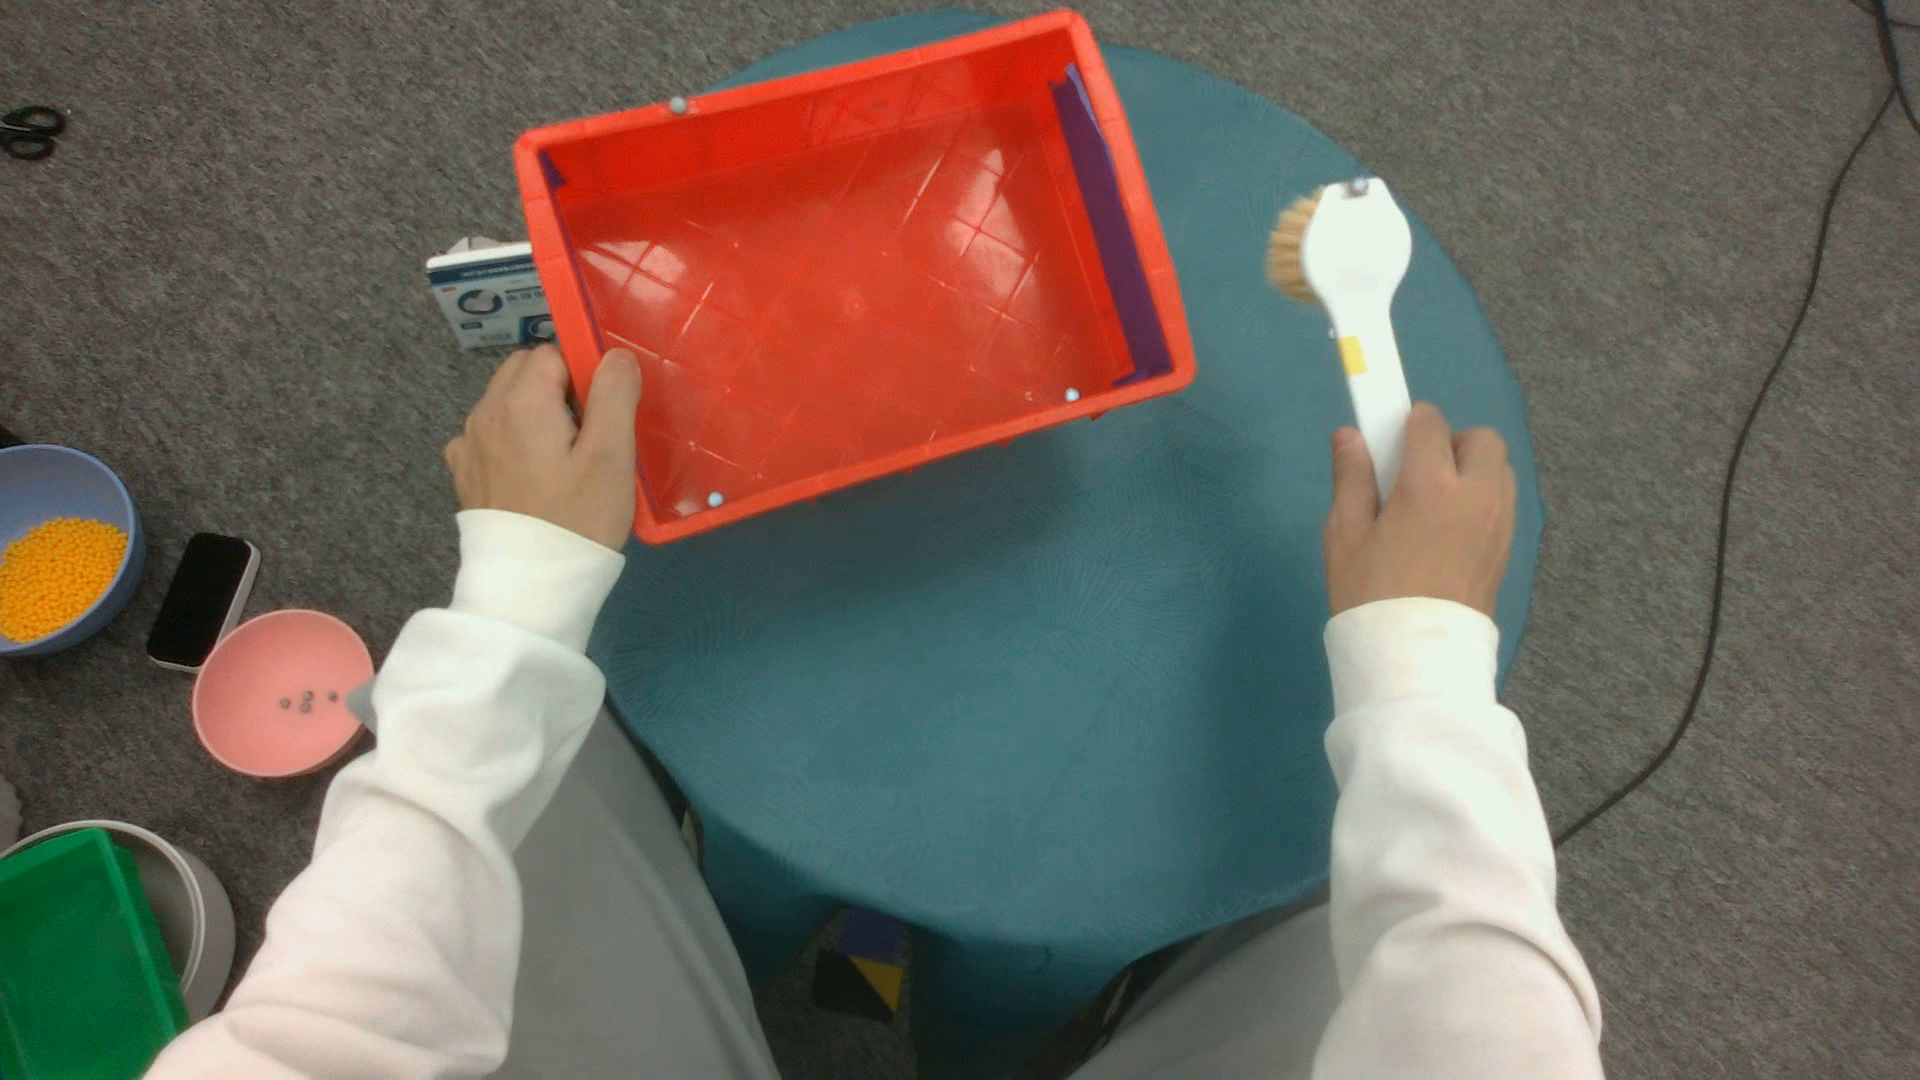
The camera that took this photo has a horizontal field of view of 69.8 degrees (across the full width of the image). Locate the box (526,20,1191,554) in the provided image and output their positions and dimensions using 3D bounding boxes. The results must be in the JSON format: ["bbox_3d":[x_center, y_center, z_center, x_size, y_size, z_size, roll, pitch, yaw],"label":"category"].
[{"bbox_3d":[-0.051,-0.130,0.735,0.304,0.096,0.206,-19,88,-10],"label":"box"}]

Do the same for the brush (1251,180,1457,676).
[{"bbox_3d":[0.214,-0.060,0.732,0.068,0.056,0.266,-13,91,-2],"label":"brush"}]
